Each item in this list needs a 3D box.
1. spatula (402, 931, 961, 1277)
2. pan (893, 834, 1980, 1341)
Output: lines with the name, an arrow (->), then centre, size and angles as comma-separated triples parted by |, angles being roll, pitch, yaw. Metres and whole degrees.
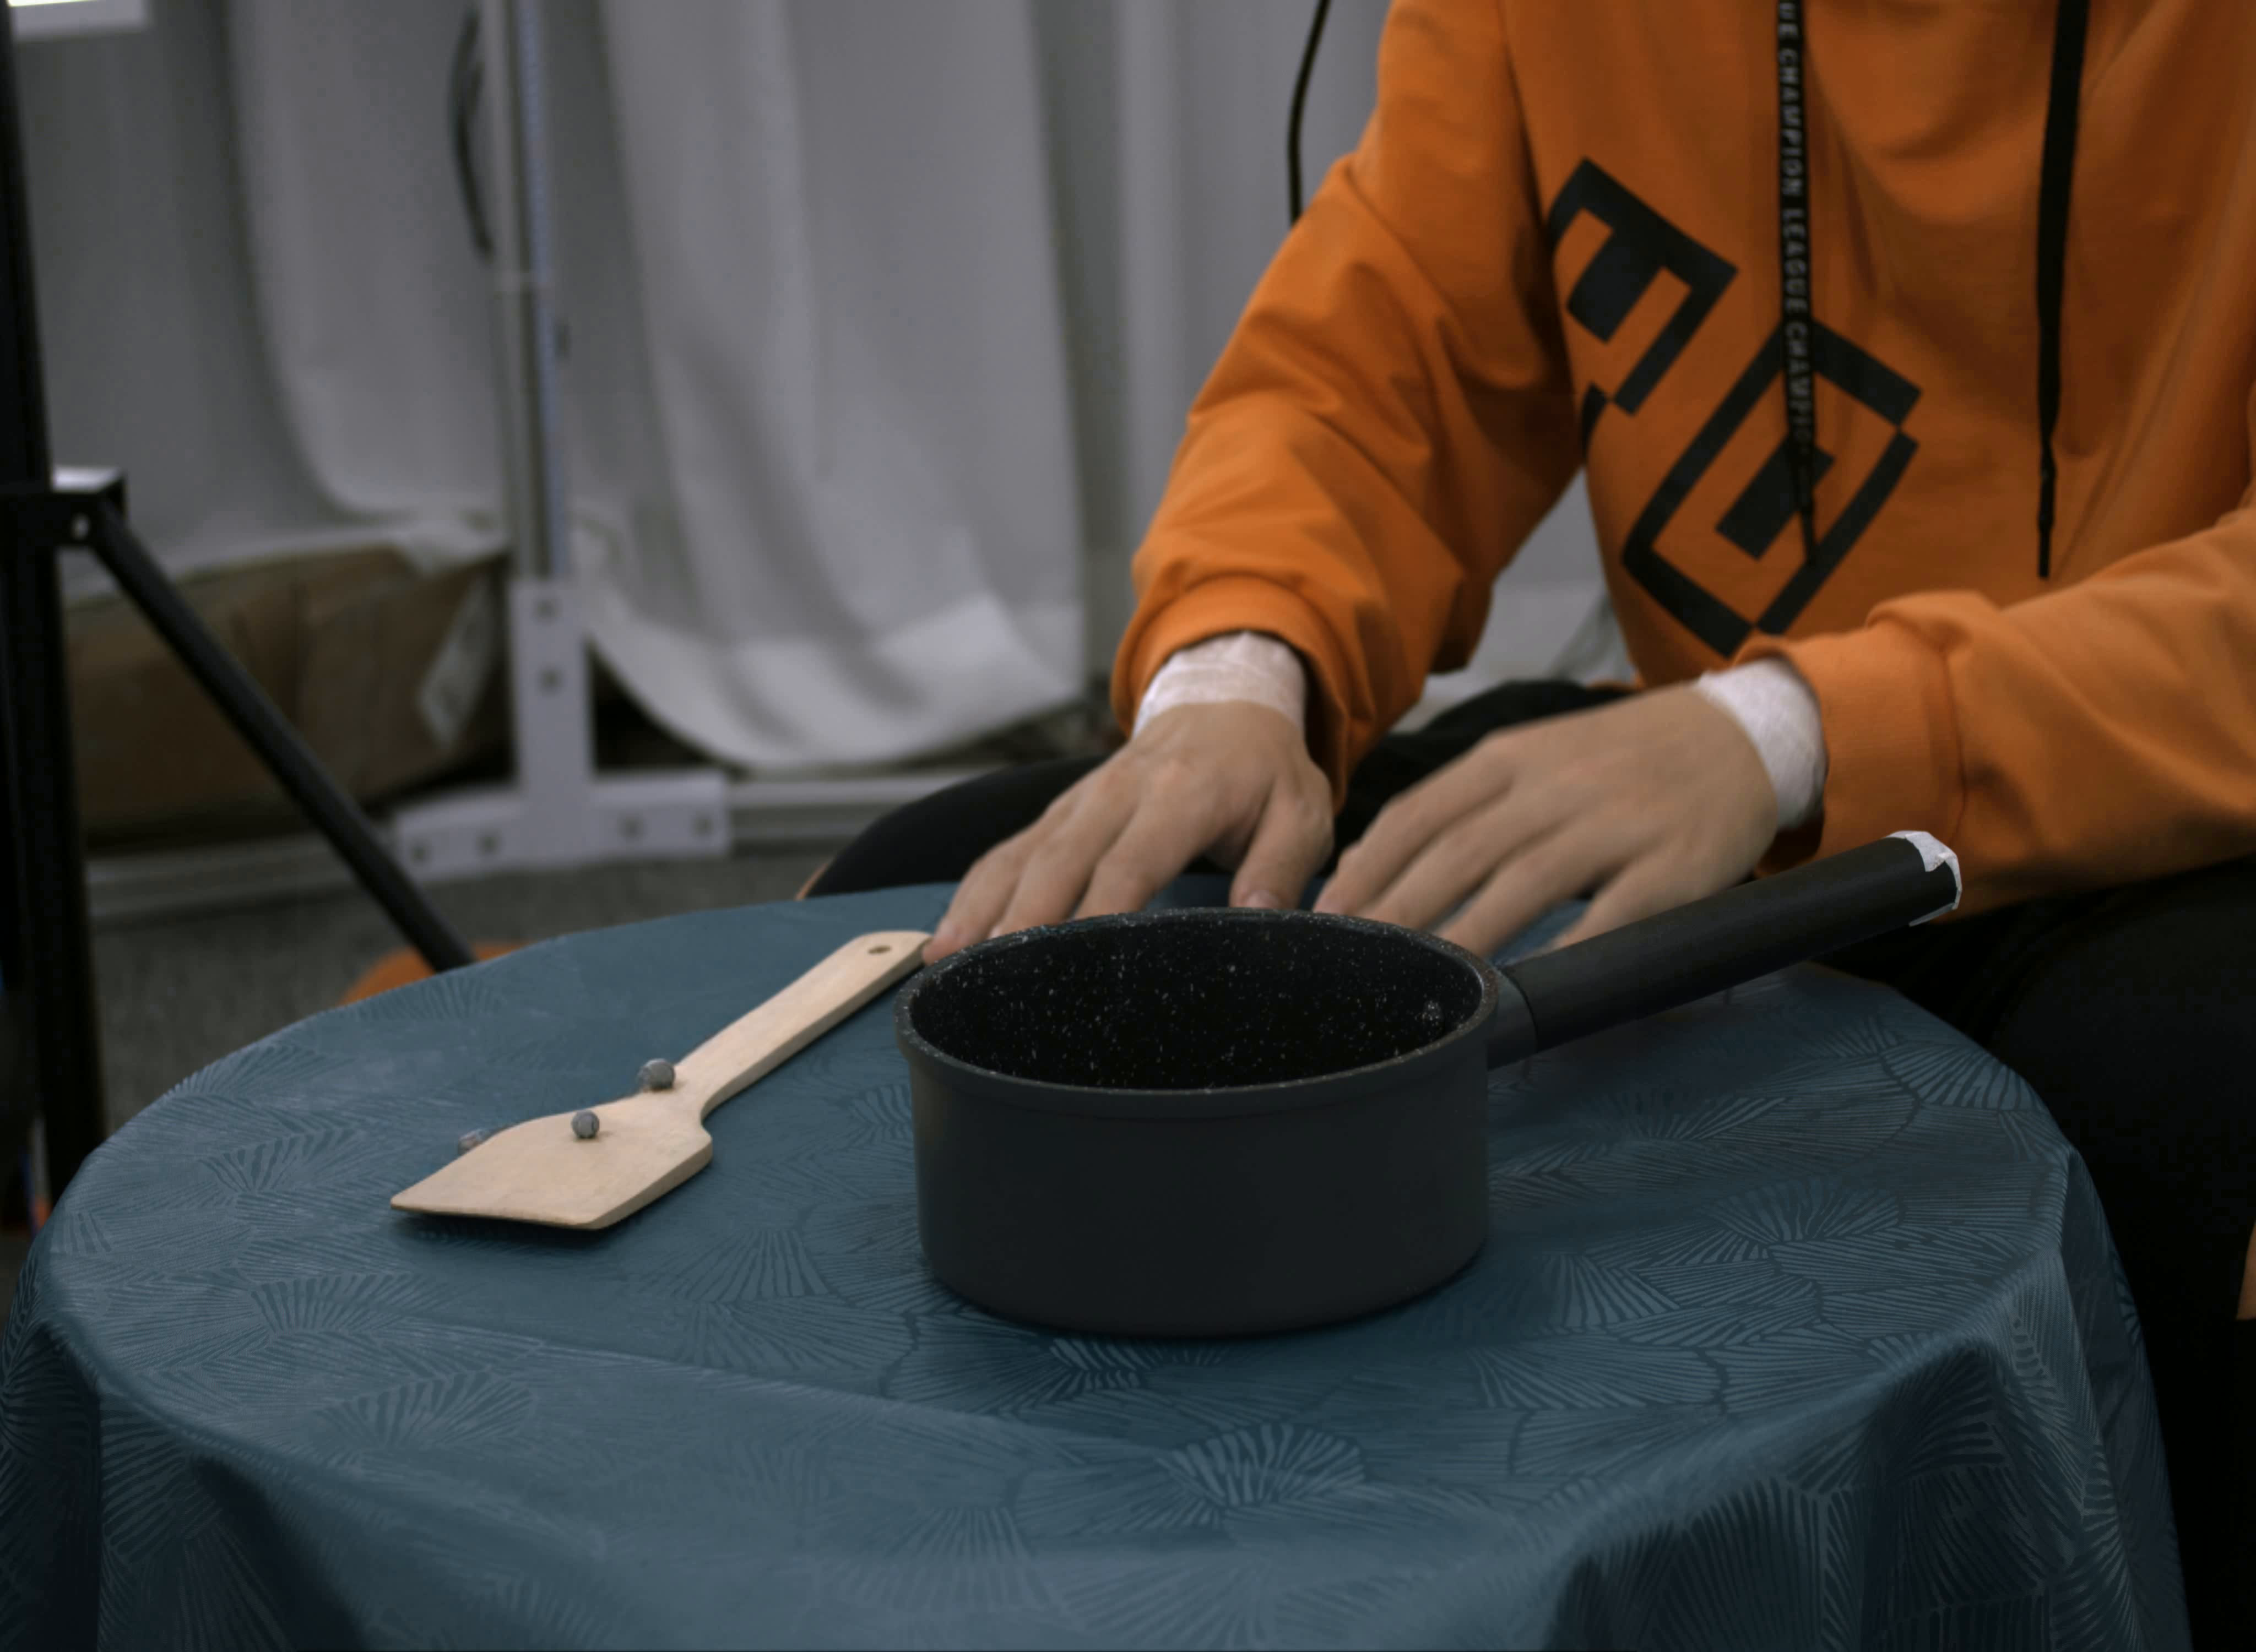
spatula -> -0.127, 0.086, 1.684 | 0.073, 0.010, 0.289 | -4, 18, 28
pan -> 0.095, 0.070, 1.523 | 0.323, 0.086, 0.175 | -9, 18, -17
